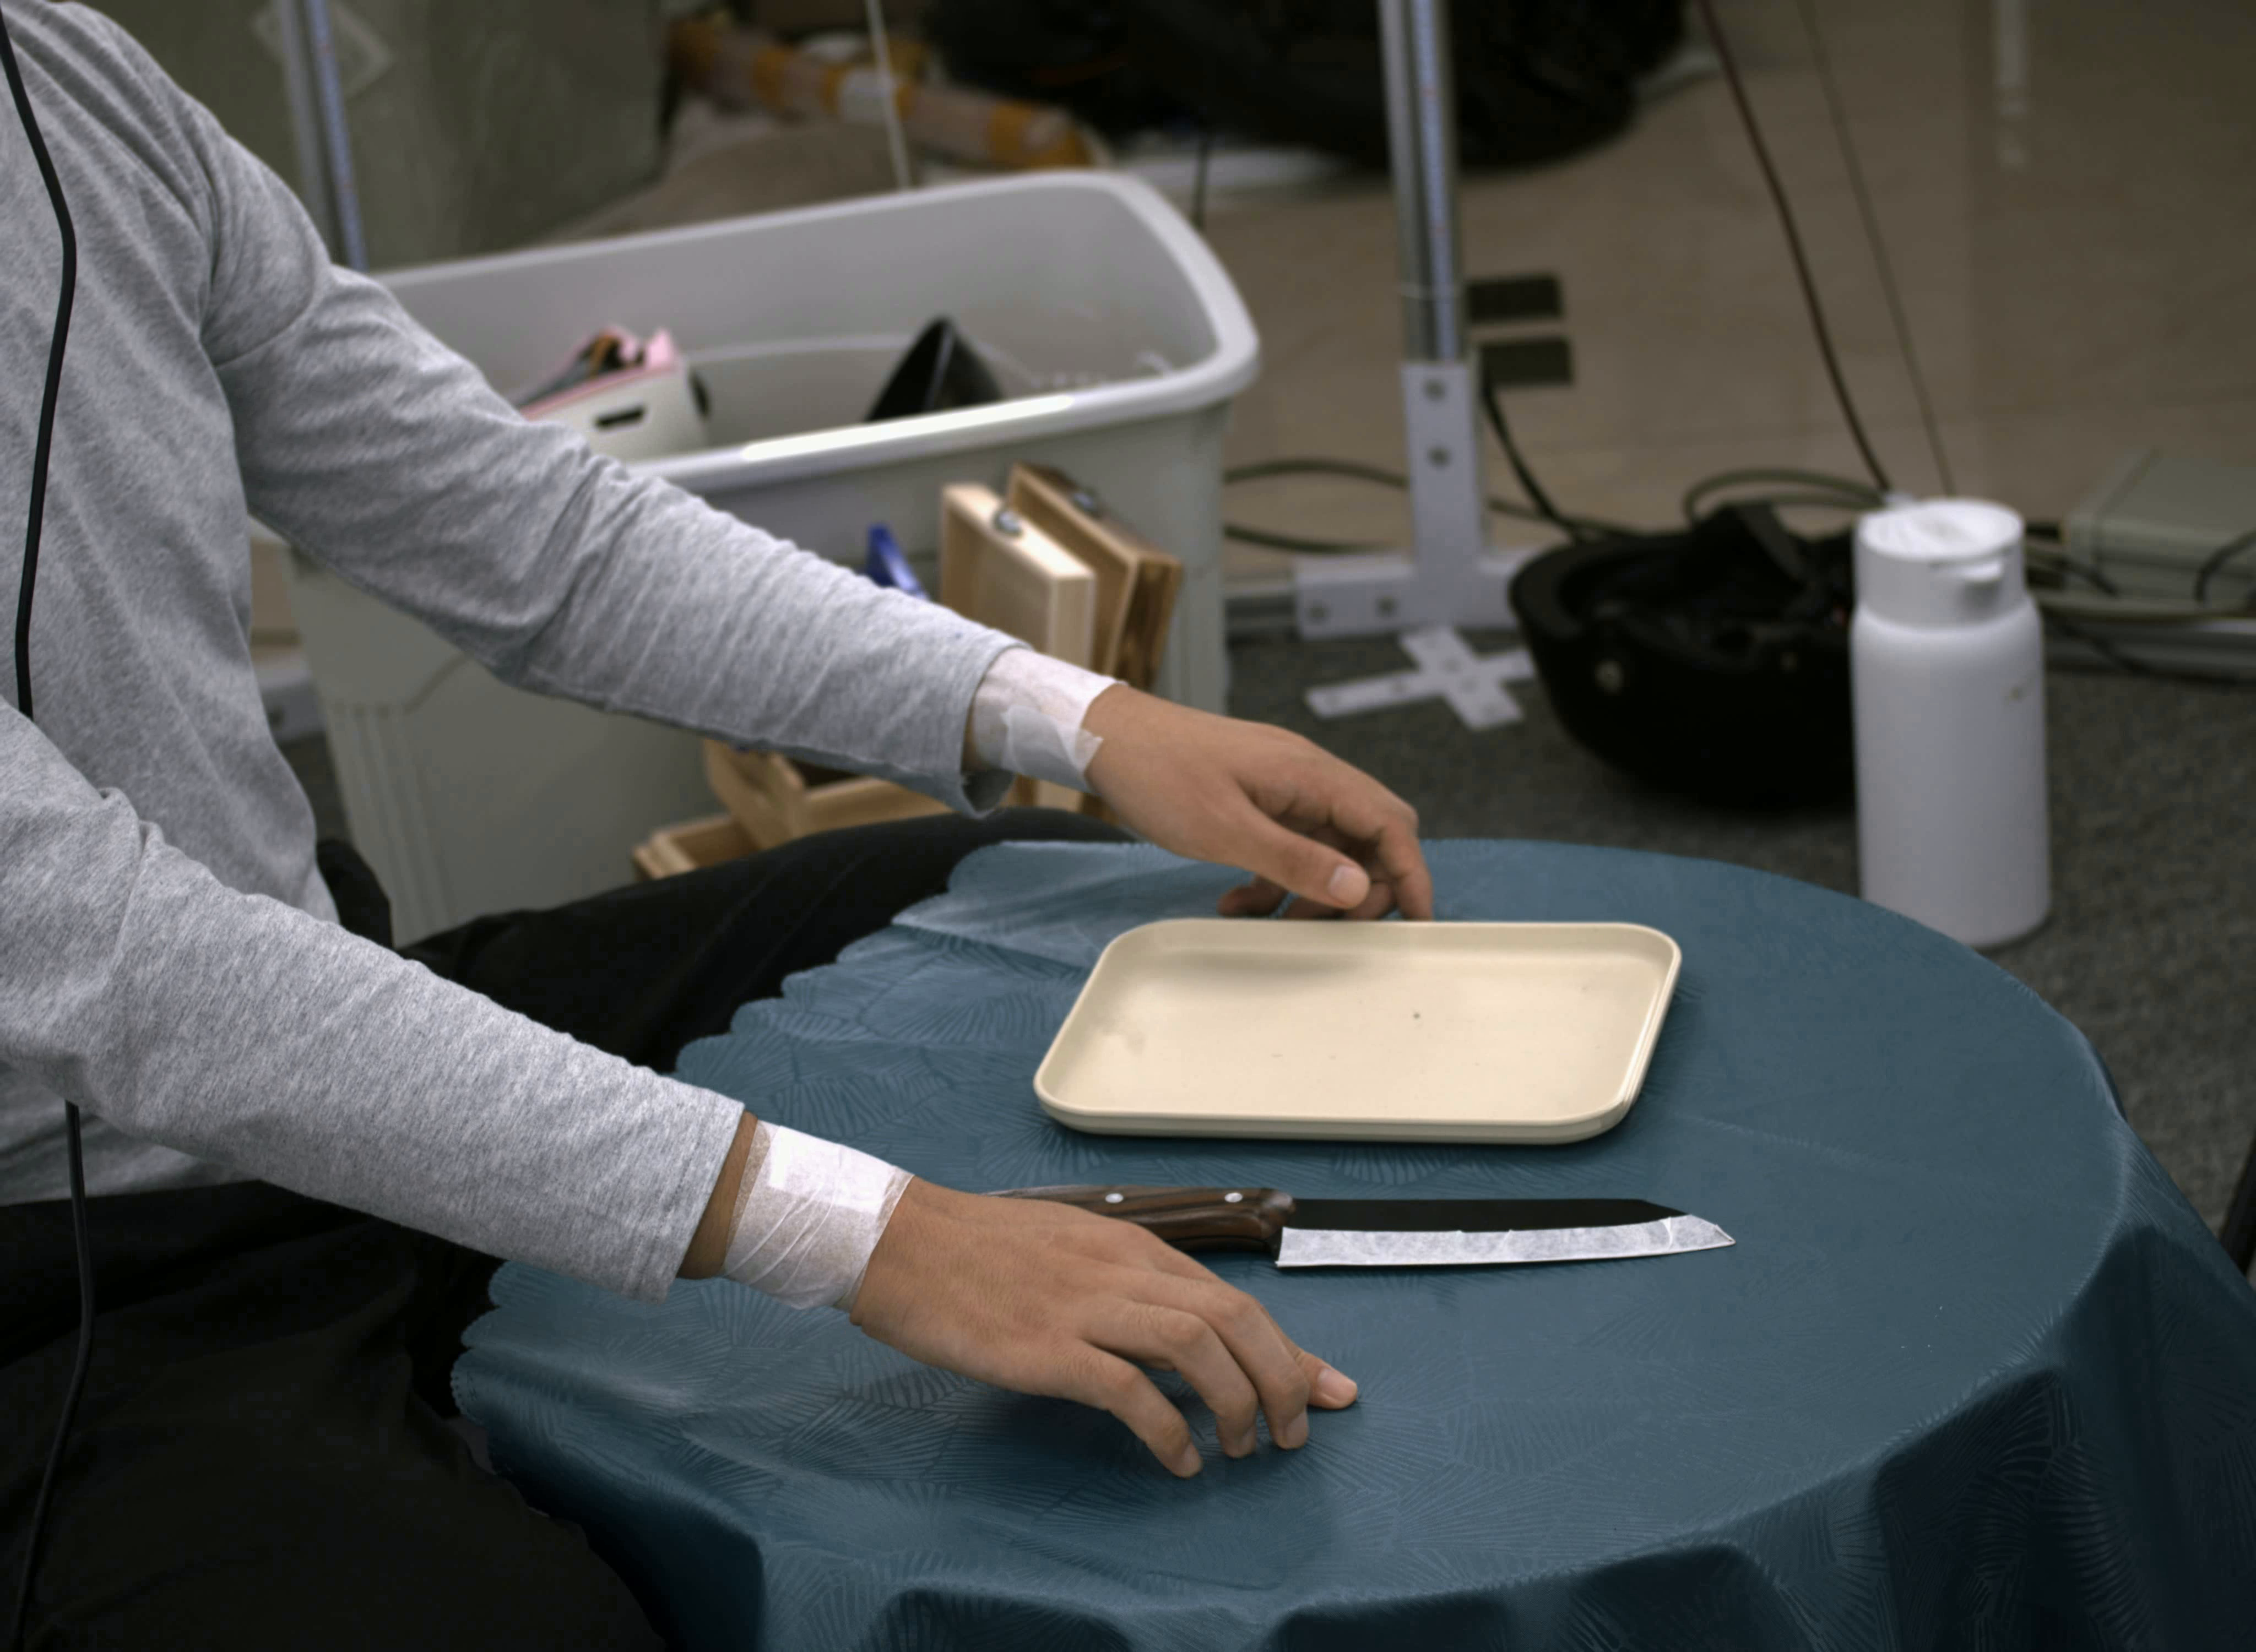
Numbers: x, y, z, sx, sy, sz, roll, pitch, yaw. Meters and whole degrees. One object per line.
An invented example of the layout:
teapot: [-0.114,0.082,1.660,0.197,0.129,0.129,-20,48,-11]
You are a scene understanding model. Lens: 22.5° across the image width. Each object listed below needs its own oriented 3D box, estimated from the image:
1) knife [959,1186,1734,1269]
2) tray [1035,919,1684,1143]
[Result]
knife: [0.079,0.149,2.093,0.288,0.020,0.049,0,31,8]
tray: [0.093,0.081,2.233,0.239,0.018,0.169,1,25,16]
